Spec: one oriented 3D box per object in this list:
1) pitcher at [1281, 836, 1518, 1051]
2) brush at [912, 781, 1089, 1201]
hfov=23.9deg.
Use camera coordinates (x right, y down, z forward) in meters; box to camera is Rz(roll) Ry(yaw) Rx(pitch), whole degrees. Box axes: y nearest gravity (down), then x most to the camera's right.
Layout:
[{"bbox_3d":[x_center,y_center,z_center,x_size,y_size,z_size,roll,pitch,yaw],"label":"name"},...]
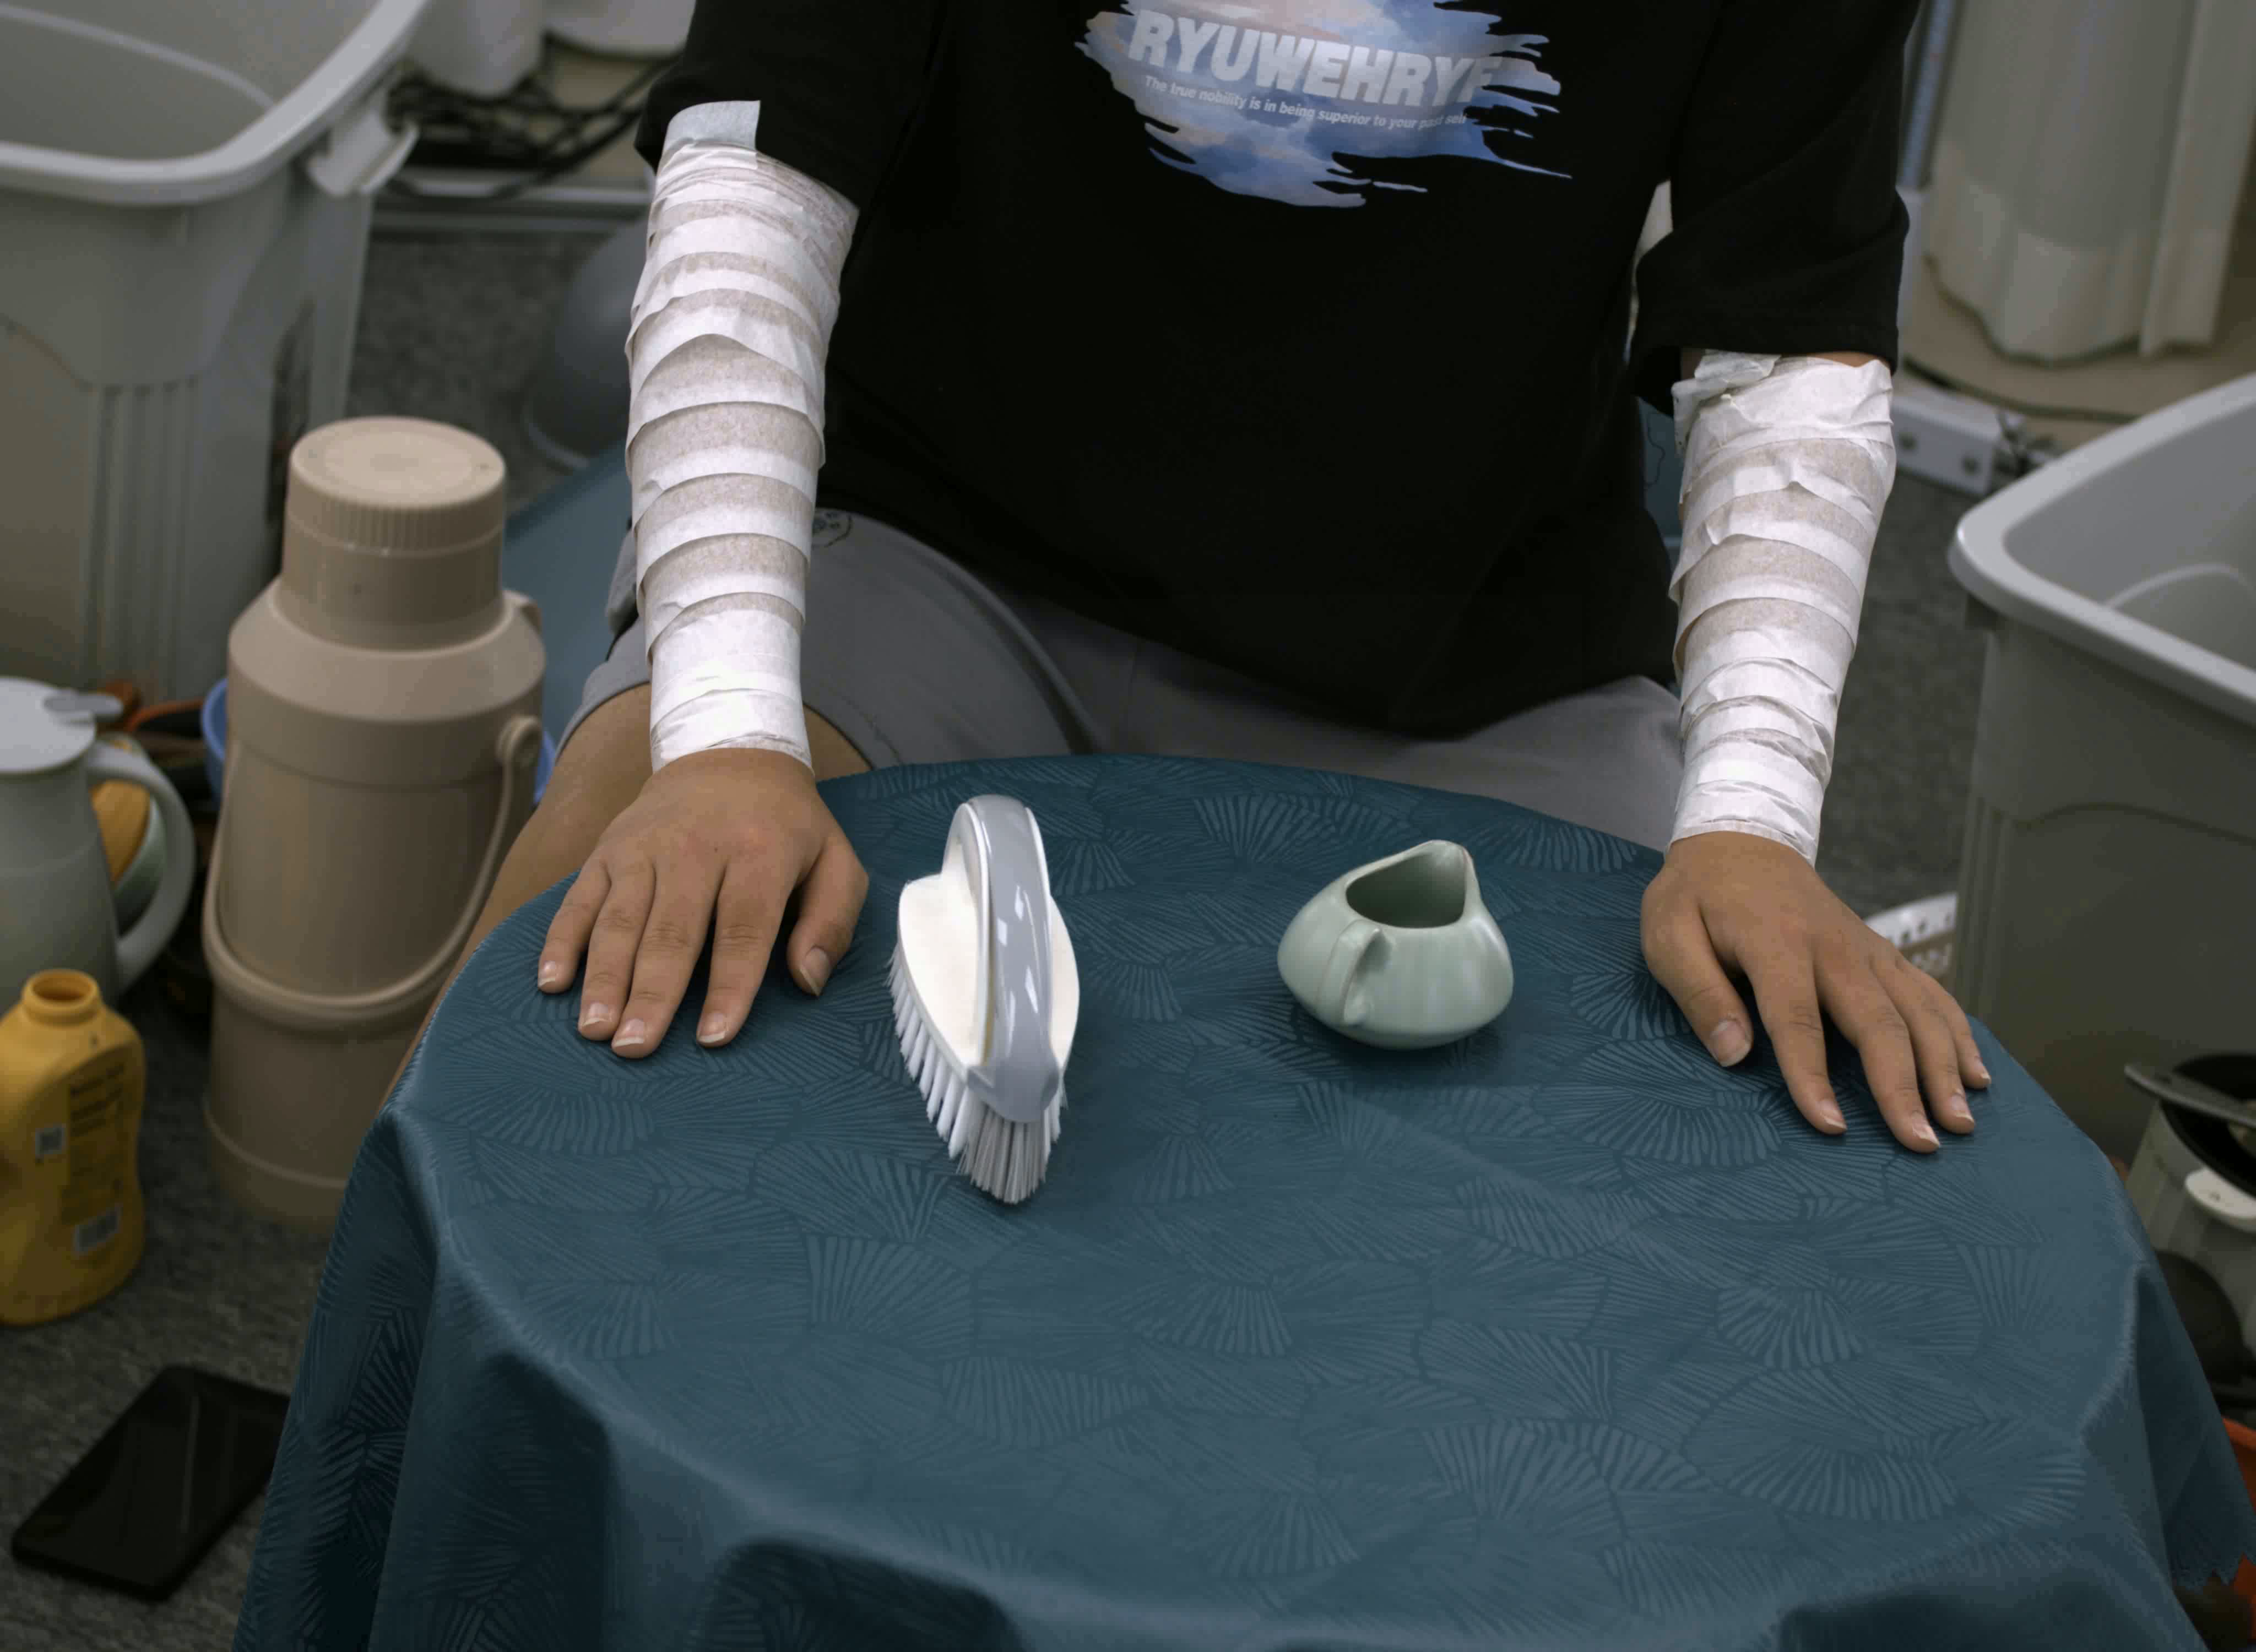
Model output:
[{"bbox_3d":[0.094,0.049,1.911,0.086,0.060,0.108,15,30,18],"label":"pitcher"},{"bbox_3d":[-0.041,0.049,1.842,0.061,0.094,0.177,-1,29,-6],"label":"brush"}]
